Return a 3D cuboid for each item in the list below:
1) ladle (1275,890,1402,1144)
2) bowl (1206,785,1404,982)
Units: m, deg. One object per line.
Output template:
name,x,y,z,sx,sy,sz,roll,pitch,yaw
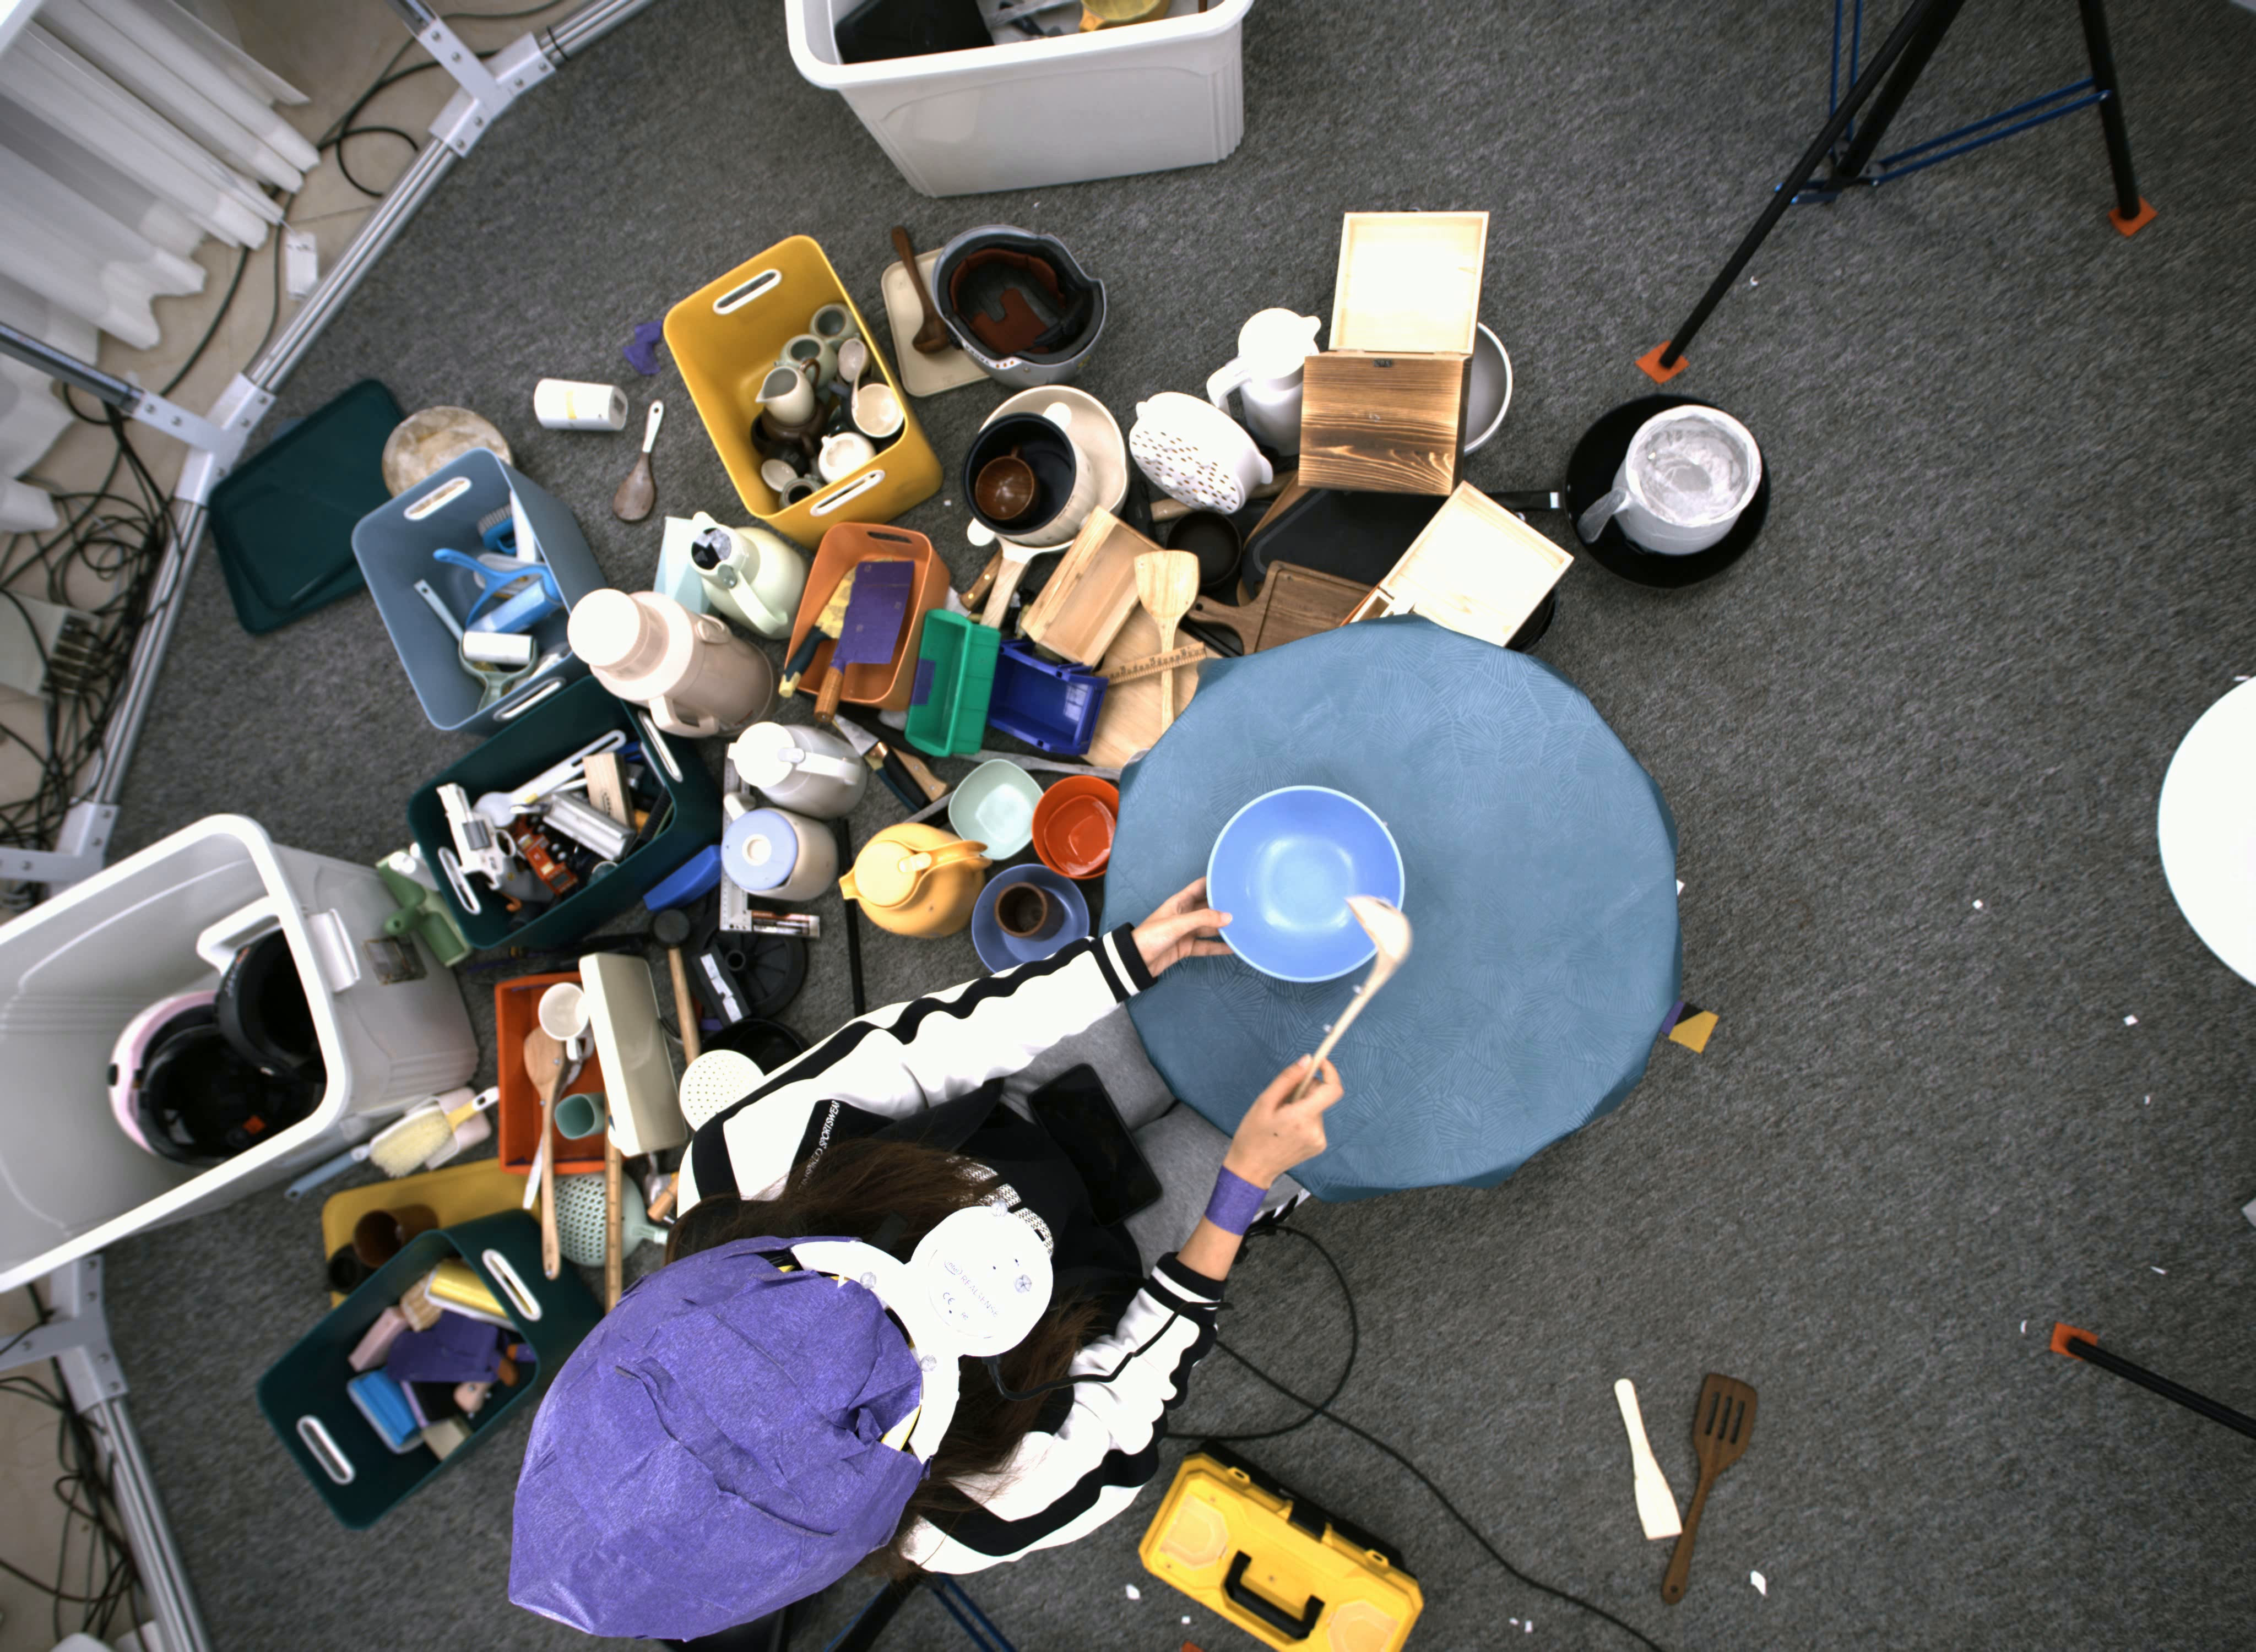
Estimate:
ladle,0.171,0.177,1.287,0.073,0.071,0.257,24,103,-18
bowl,0.182,0.058,1.423,0.197,0.095,0.196,0,91,9
